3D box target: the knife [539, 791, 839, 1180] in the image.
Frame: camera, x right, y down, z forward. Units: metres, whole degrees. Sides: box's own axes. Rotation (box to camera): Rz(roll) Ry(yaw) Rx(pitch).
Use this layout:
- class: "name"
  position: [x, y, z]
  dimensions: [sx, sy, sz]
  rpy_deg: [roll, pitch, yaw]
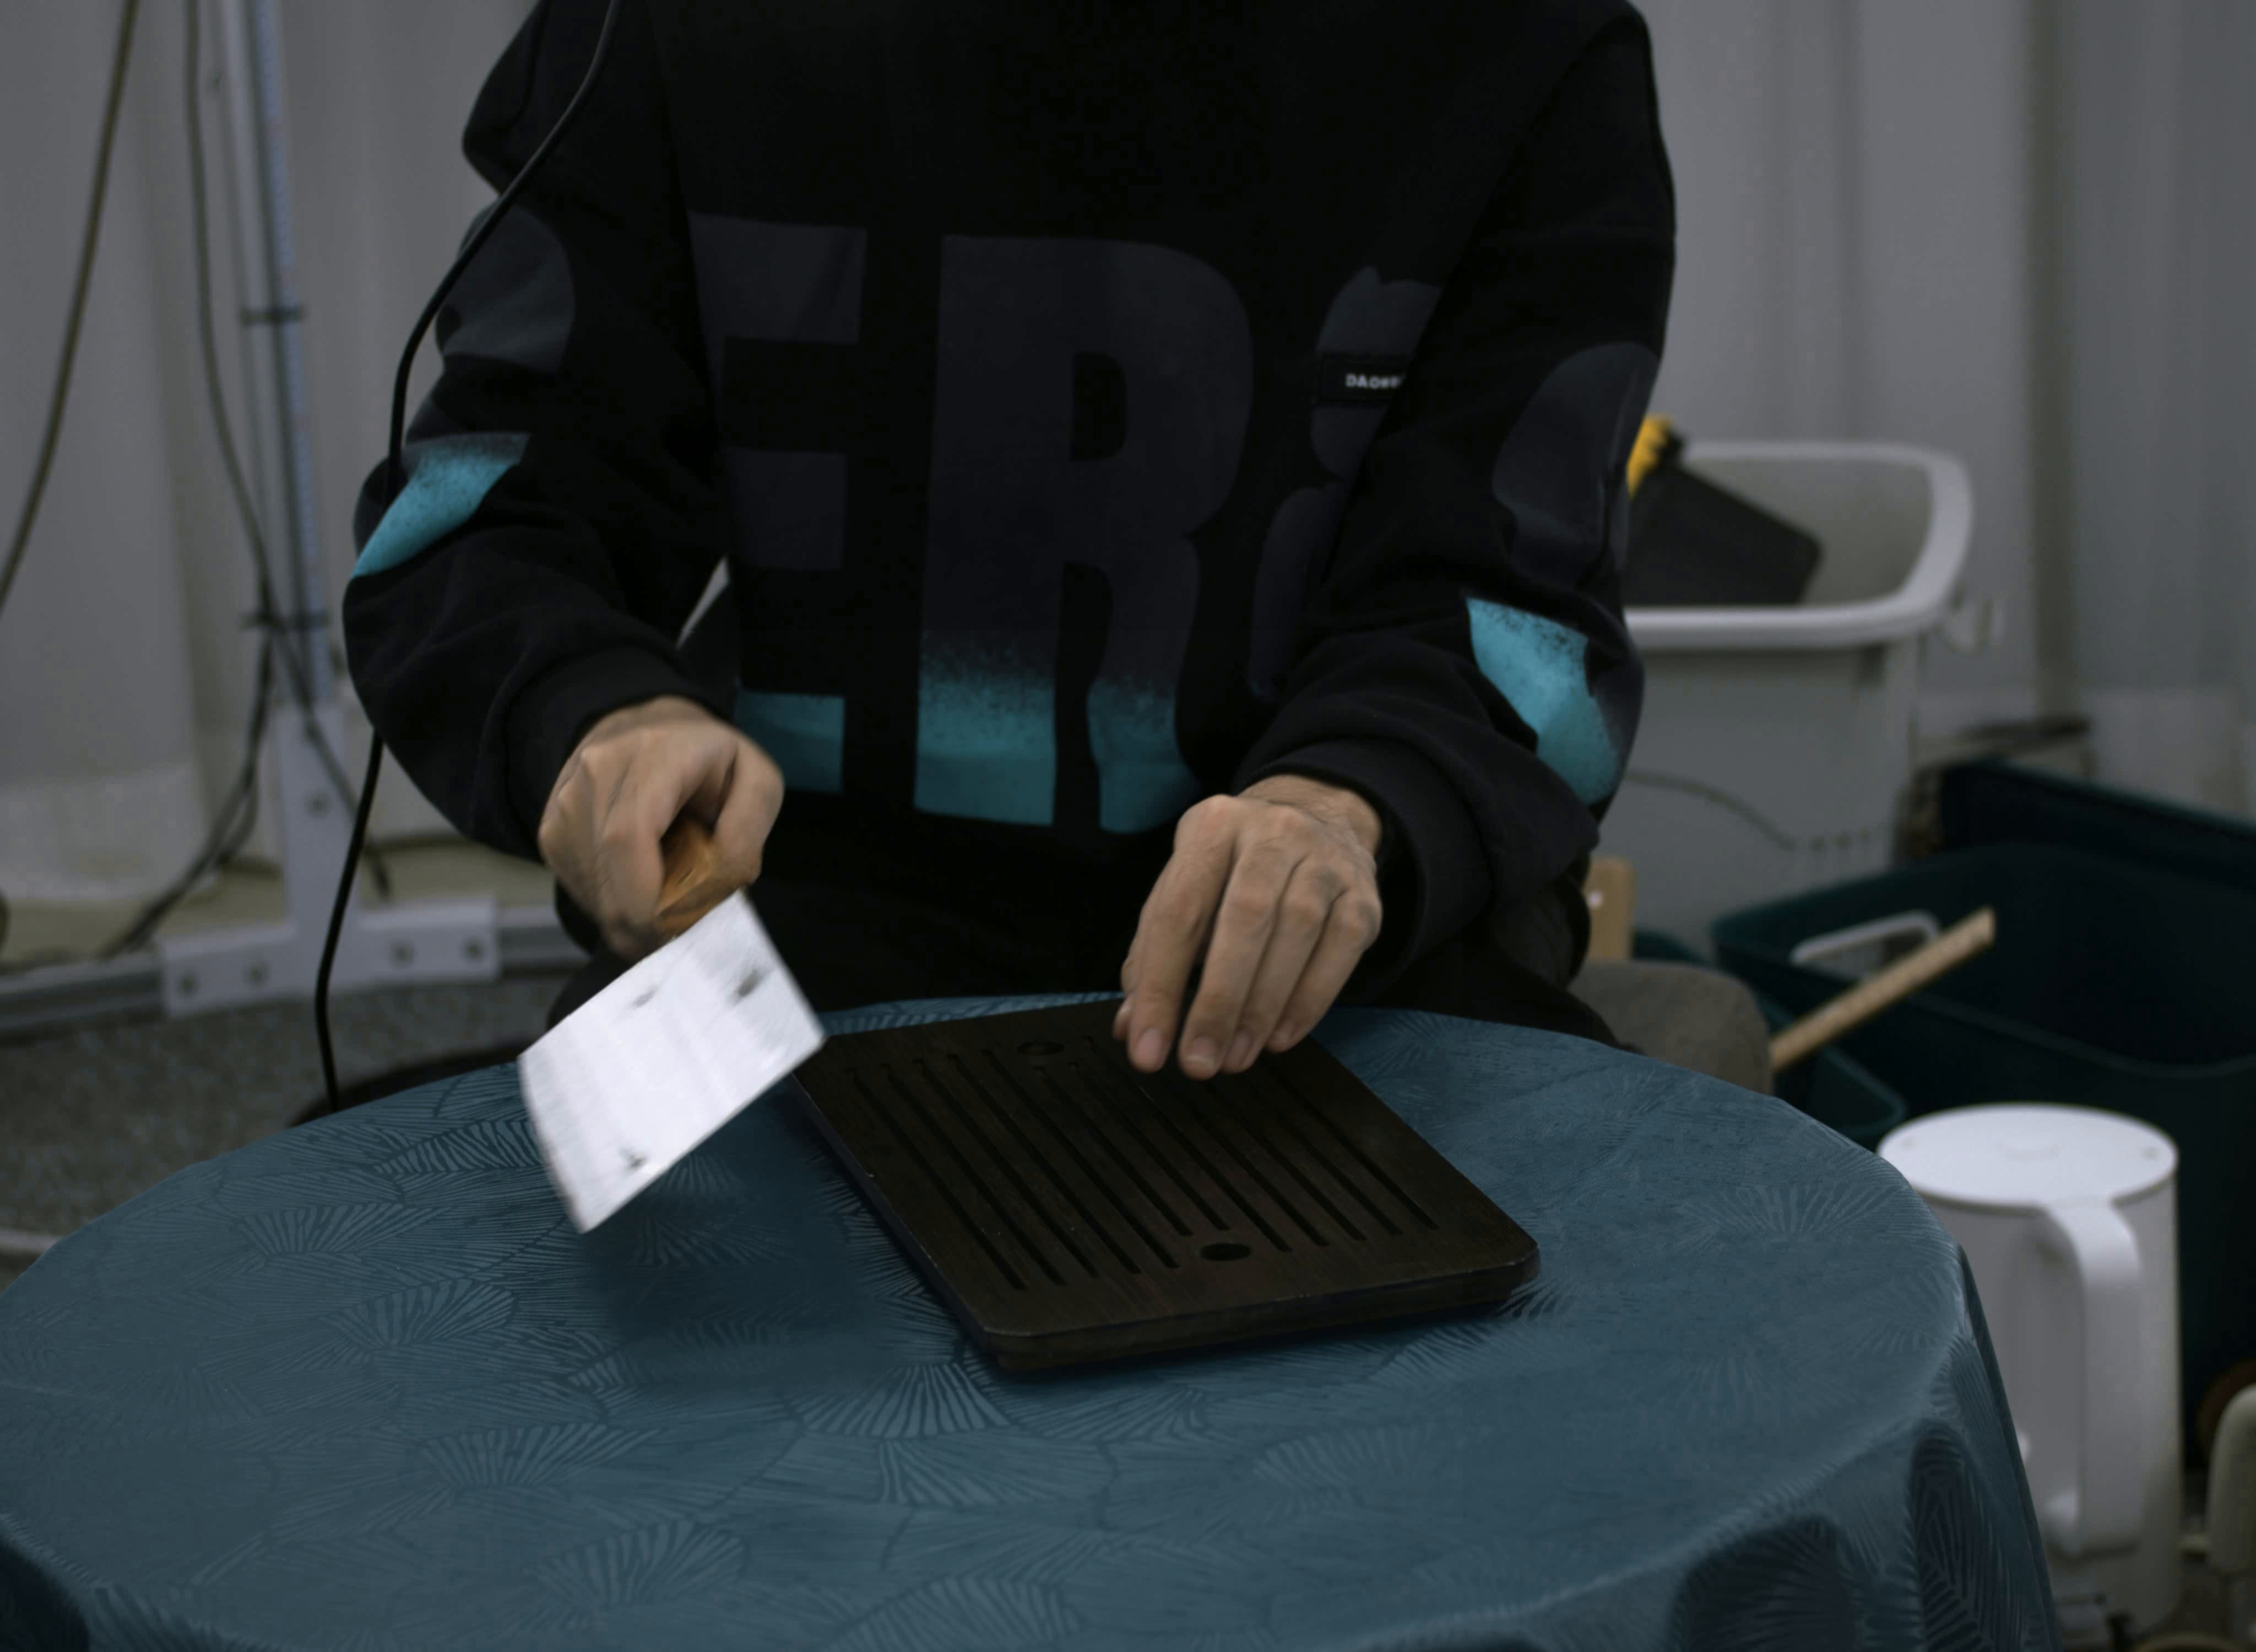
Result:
- class: "knife"
  position: [-0.147, 0.050, 1.725]
  dimensions: [0.093, 0.021, 0.308]
  rpy_deg: [-41, 18, 0]

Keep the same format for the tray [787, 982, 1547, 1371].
- class: "tray"
  position: [0.004, 0.106, 1.711]
  dimensions: [0.169, 0.018, 0.308]
  rpy_deg: [-7, 16, -14]
